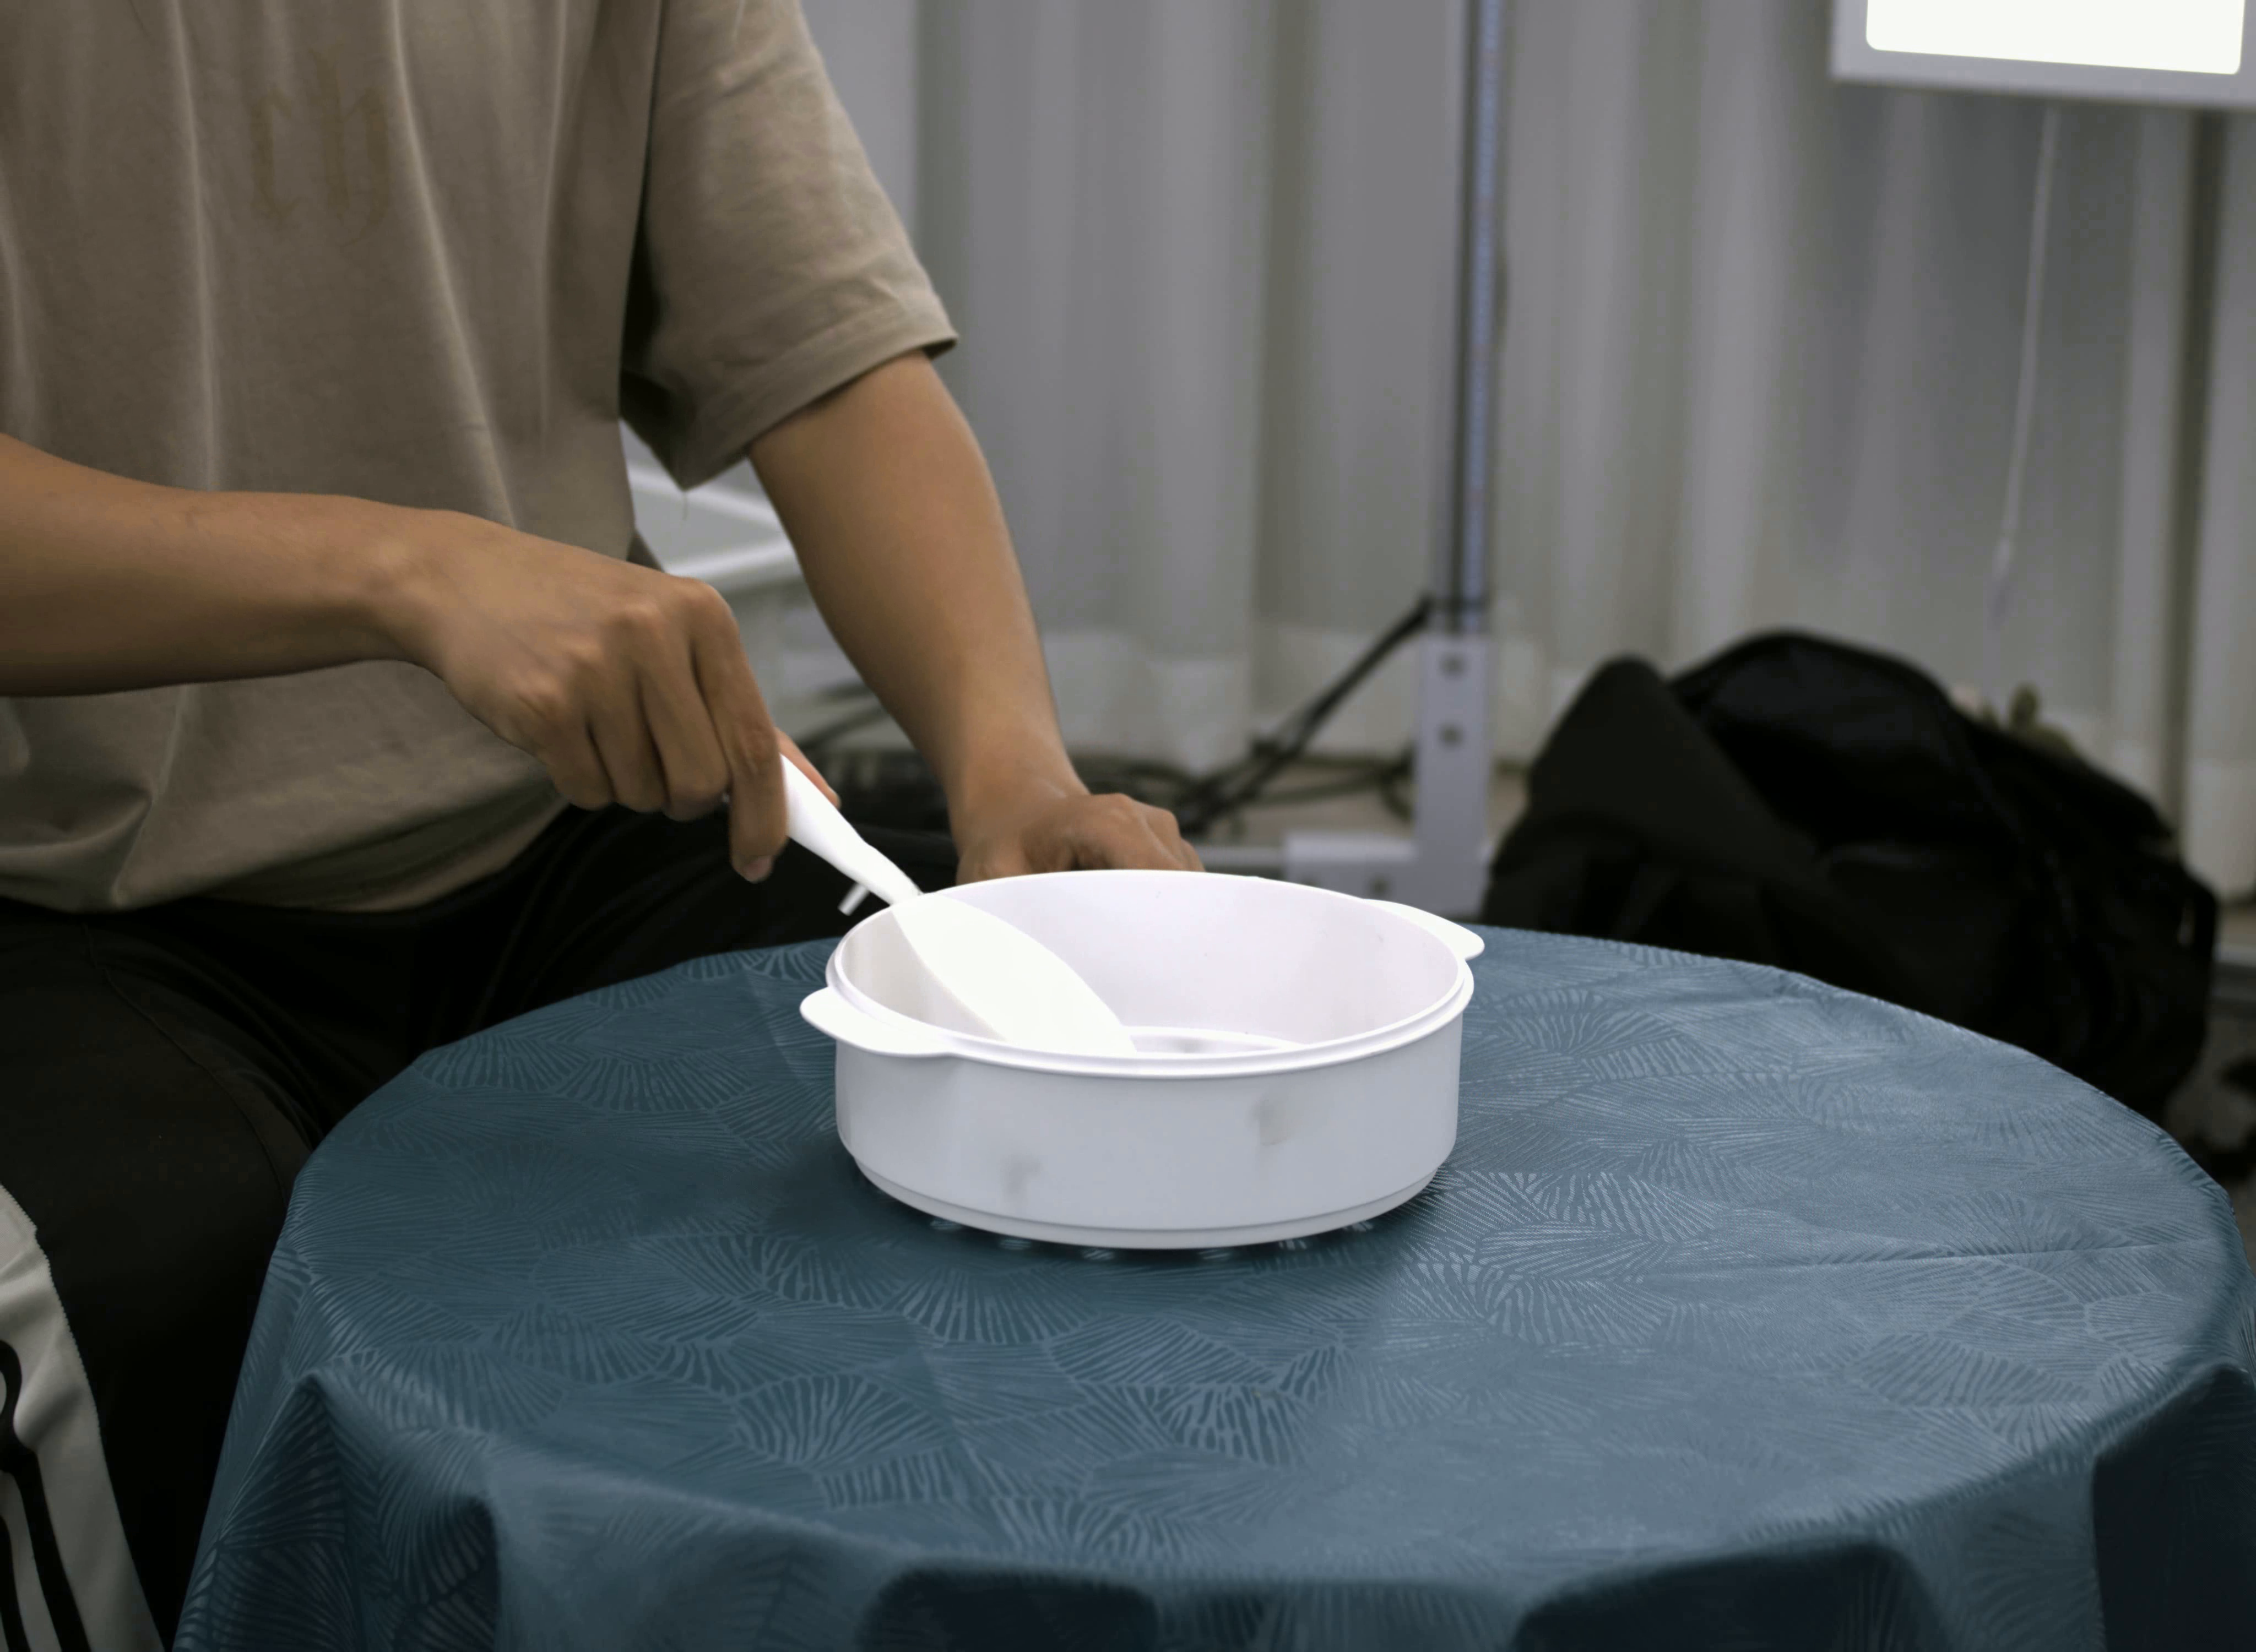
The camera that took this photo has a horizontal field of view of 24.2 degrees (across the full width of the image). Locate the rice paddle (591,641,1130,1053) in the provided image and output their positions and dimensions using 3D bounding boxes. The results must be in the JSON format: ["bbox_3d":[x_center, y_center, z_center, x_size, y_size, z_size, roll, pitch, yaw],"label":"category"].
[{"bbox_3d":[-0.077,0.015,1.641,0.206,0.029,0.068,38,24,-8],"label":"rice paddle"}]

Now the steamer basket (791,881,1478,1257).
[{"bbox_3d":[0.003,0.076,1.639,0.232,0.070,0.199,-6,18,-32],"label":"steamer basket"}]
